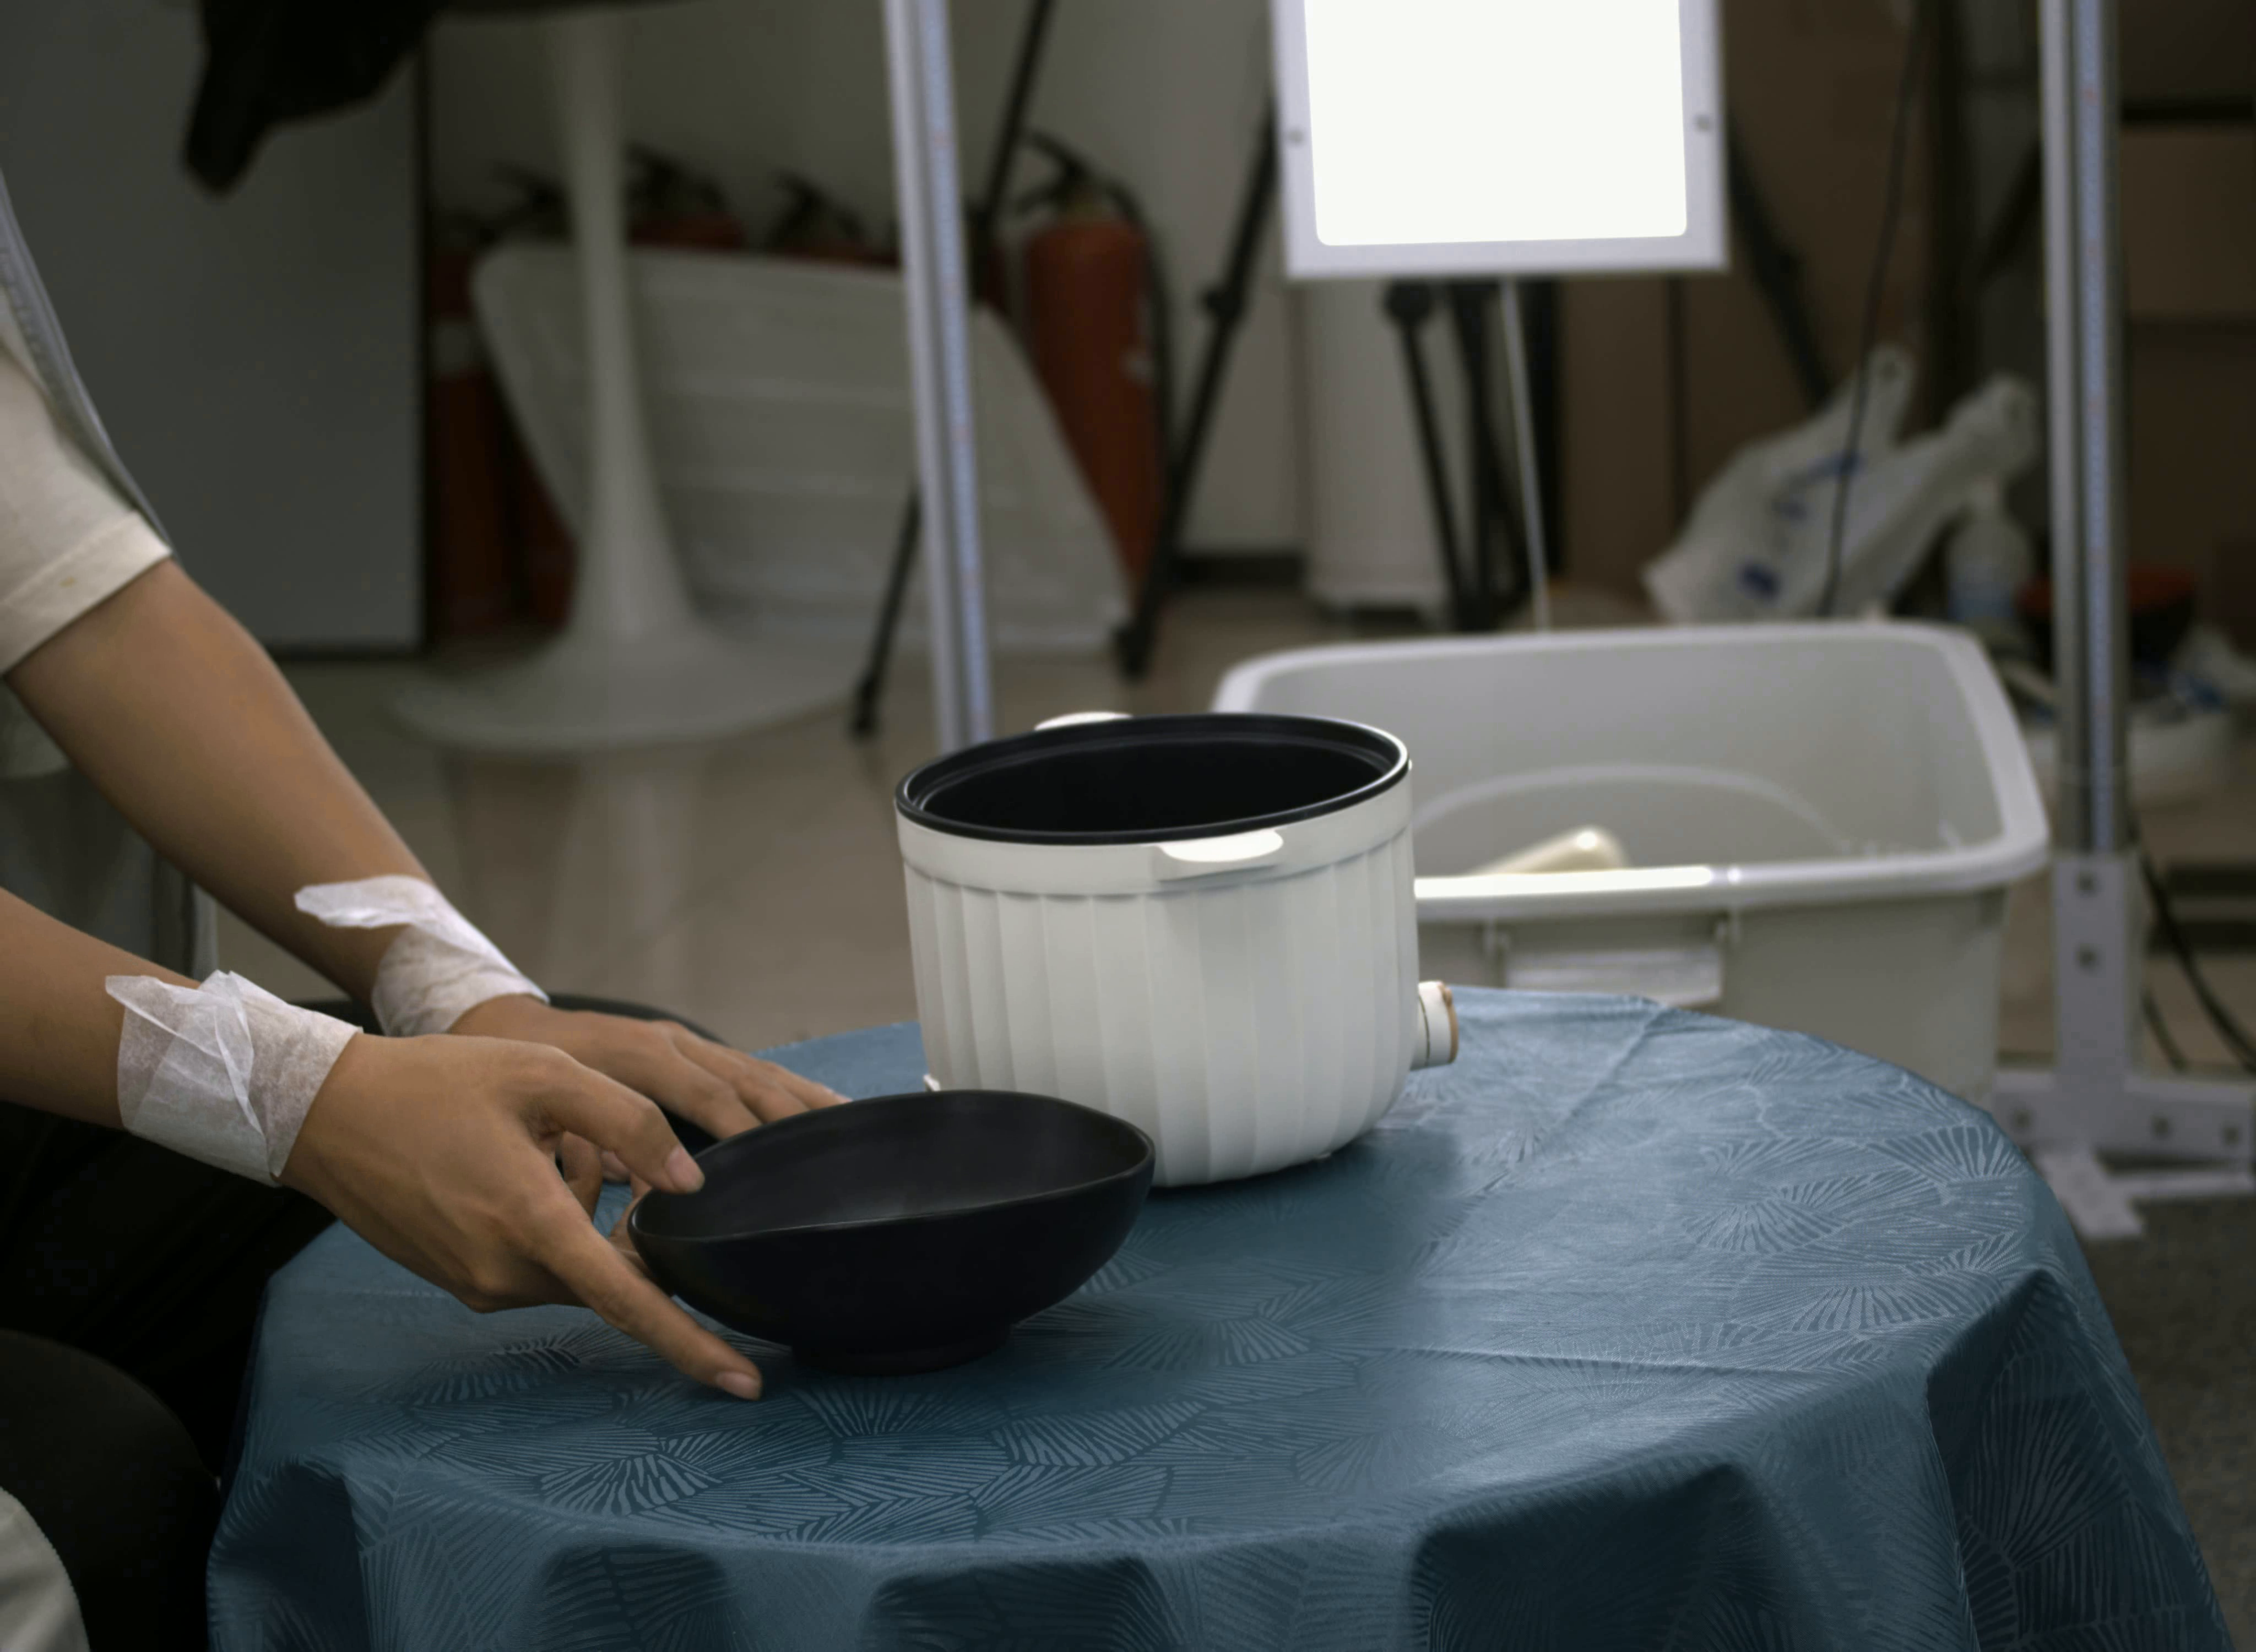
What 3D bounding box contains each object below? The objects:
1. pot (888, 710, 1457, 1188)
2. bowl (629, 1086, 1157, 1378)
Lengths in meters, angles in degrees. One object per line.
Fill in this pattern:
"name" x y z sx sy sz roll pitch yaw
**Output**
"pot" 0.017 0.044 1.938 0.188 0.143 0.242 -11 15 -11
"bowl" -0.072 0.134 1.754 0.169 0.067 0.137 -7 13 -4
